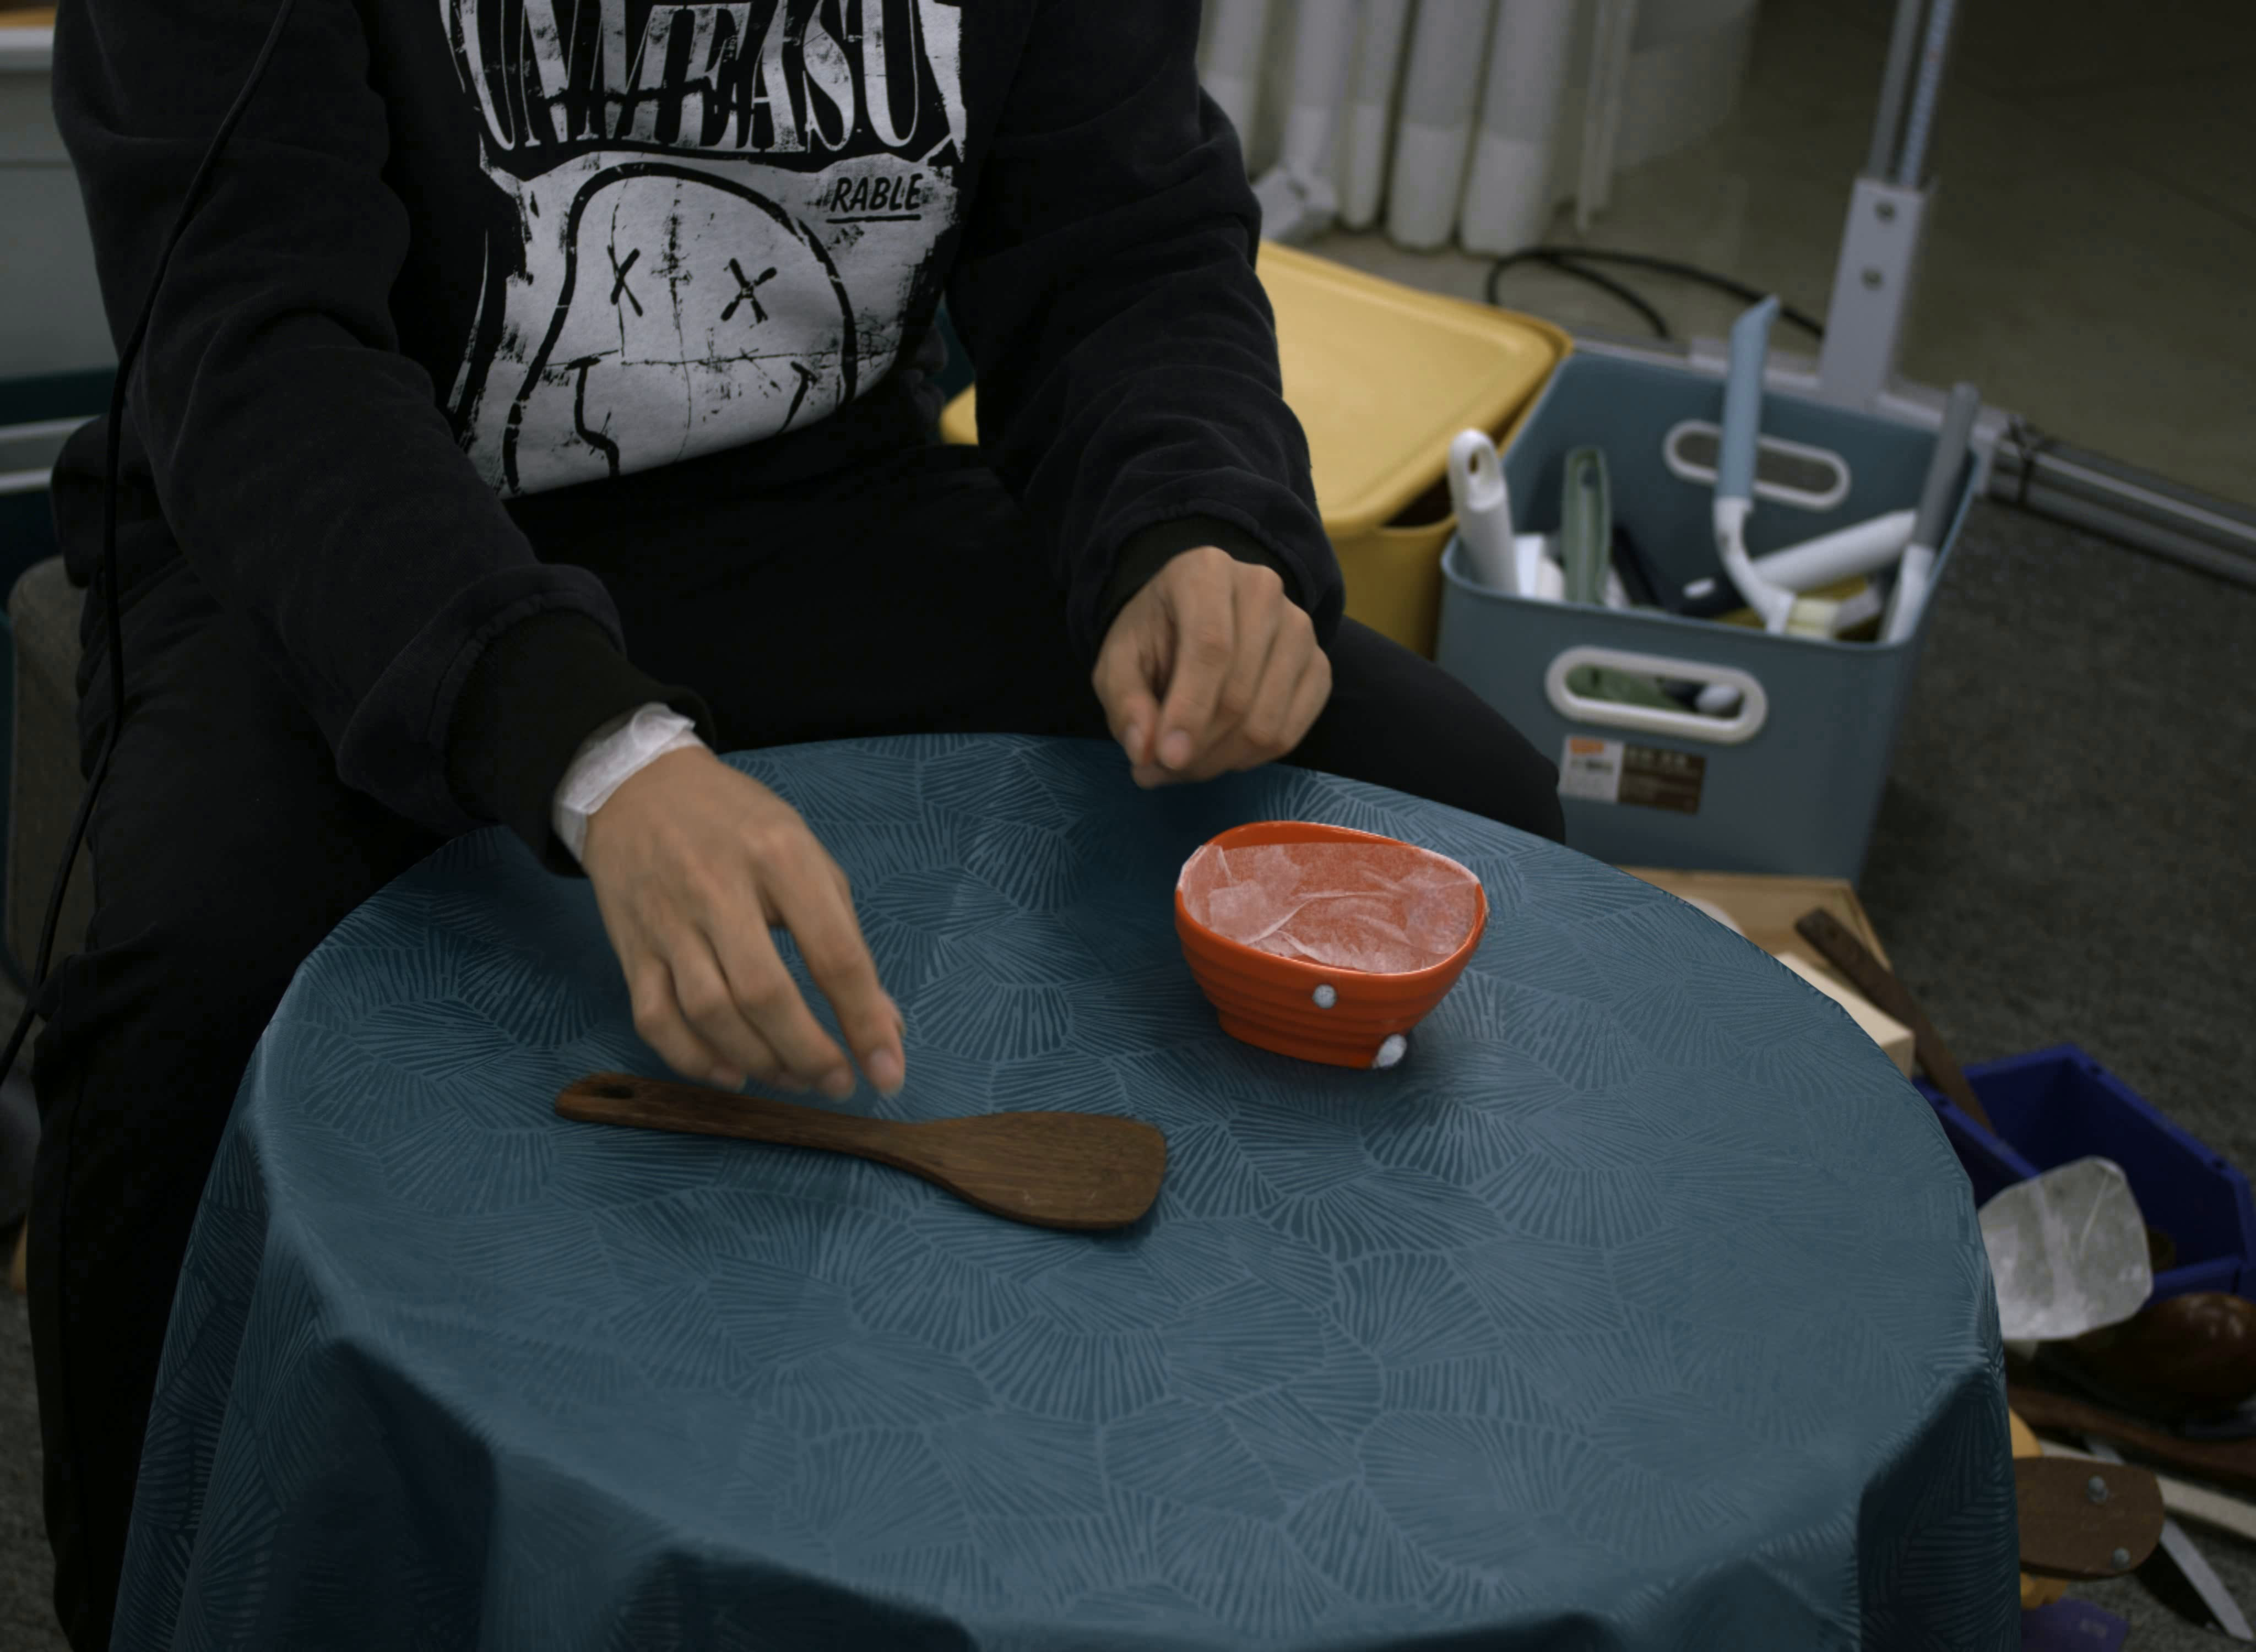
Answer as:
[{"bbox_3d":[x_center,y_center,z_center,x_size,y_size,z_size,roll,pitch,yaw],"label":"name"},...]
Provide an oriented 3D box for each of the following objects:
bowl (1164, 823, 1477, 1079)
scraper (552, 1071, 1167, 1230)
[{"bbox_3d":[0.067,0.049,1.914,0.118,0.051,0.120,5,31,-3],"label":"bowl"},{"bbox_3d":[-0.092,0.106,1.807,0.211,0.011,0.076,8,26,5],"label":"scraper"}]
